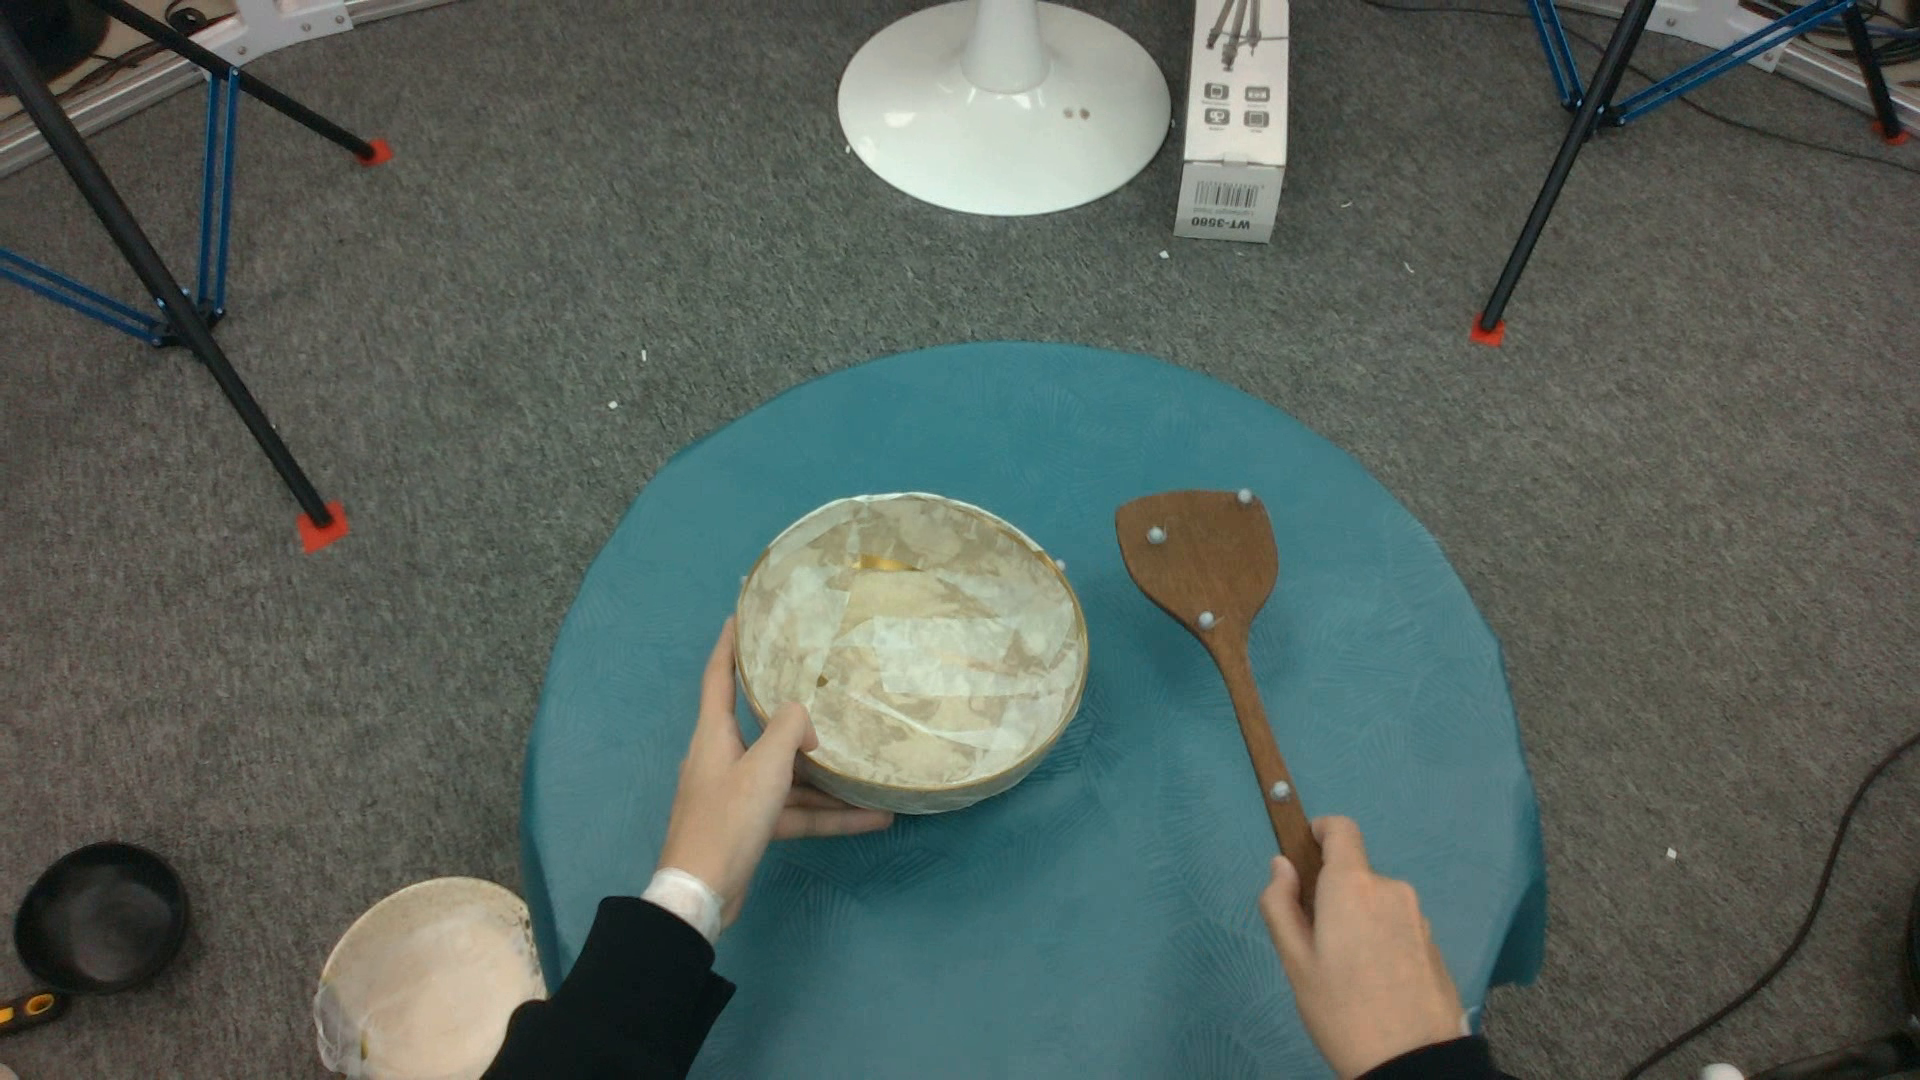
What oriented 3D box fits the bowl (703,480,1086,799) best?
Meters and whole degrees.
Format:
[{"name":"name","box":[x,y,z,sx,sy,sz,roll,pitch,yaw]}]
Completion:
[{"name":"bowl","box":[-0.040,0.071,0.792,0.215,0.094,0.215,7,48,-7]}]

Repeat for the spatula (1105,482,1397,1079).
[{"name":"spatula","box":[0.155,0.112,0.716,0.096,0.016,0.387,-4,49,-7]}]
